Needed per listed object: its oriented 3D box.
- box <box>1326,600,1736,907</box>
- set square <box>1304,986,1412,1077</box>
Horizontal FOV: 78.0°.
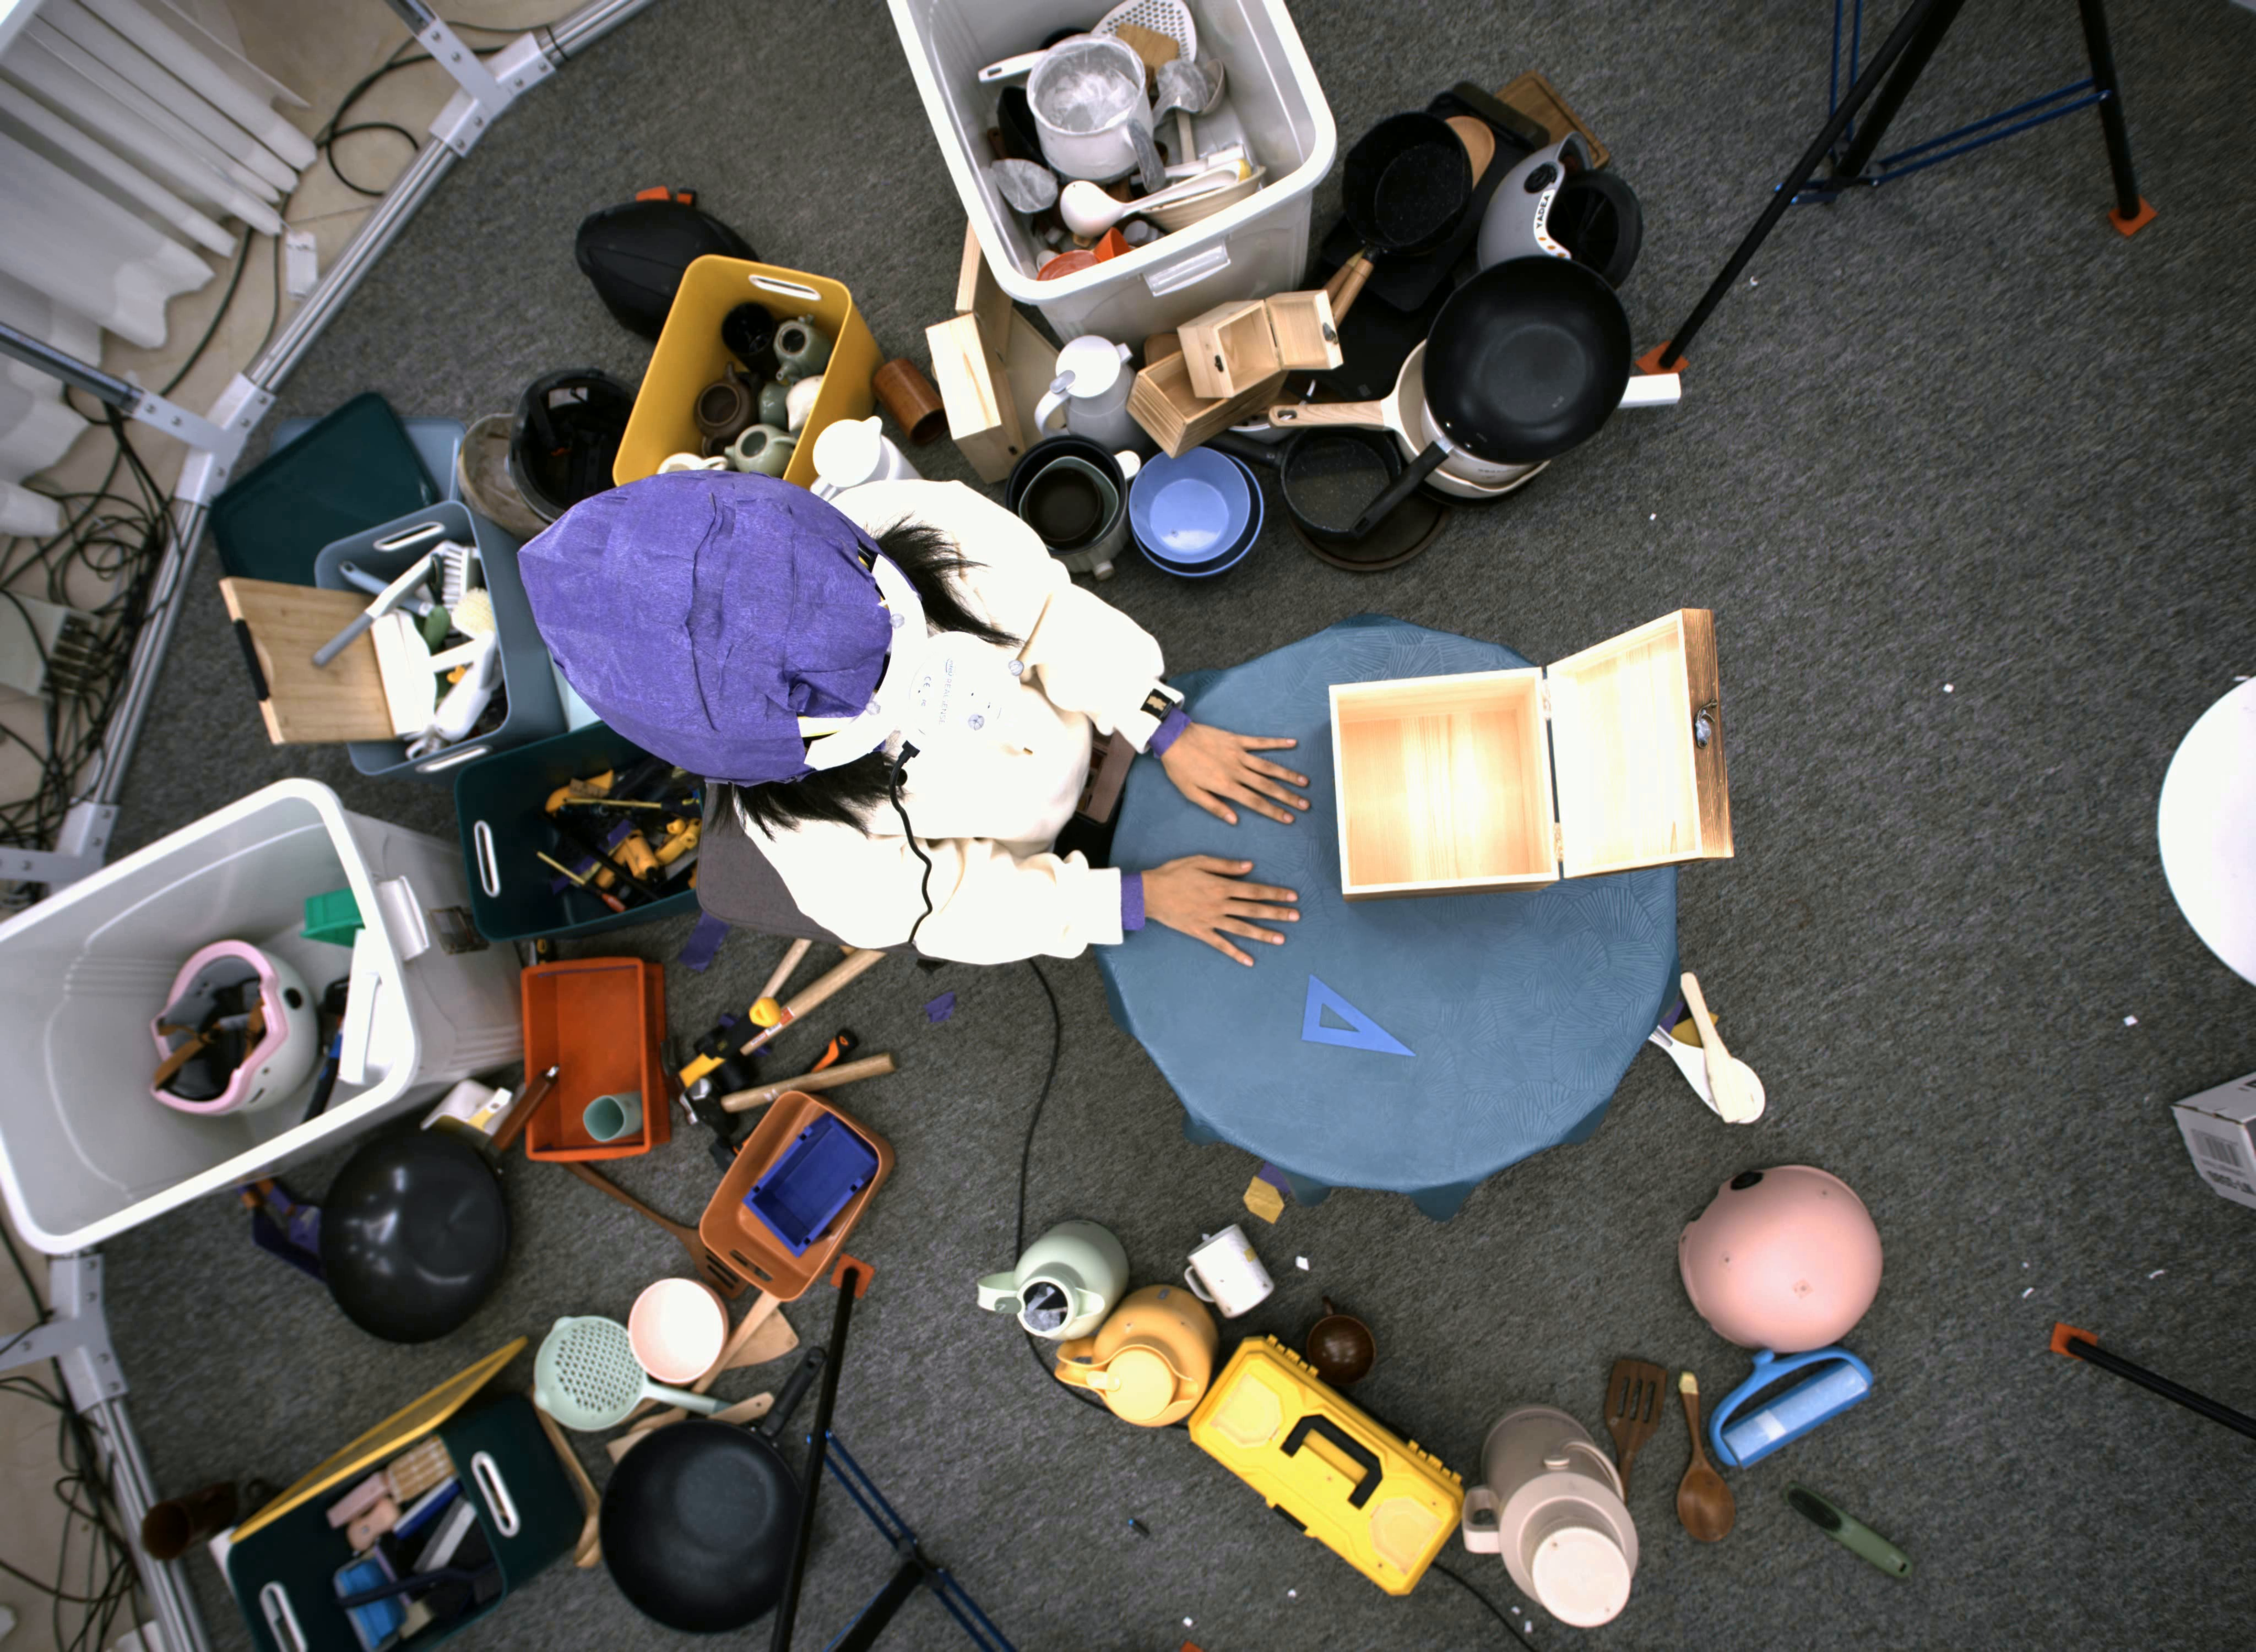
[{"bbox_3d":[0.345,-0.051,1.272,0.323,0.376,0.207,-4,83,9],"label":"box"},{"bbox_3d":[0.233,0.231,1.456,0.131,0.006,0.061,41,93,10],"label":"set square"}]
